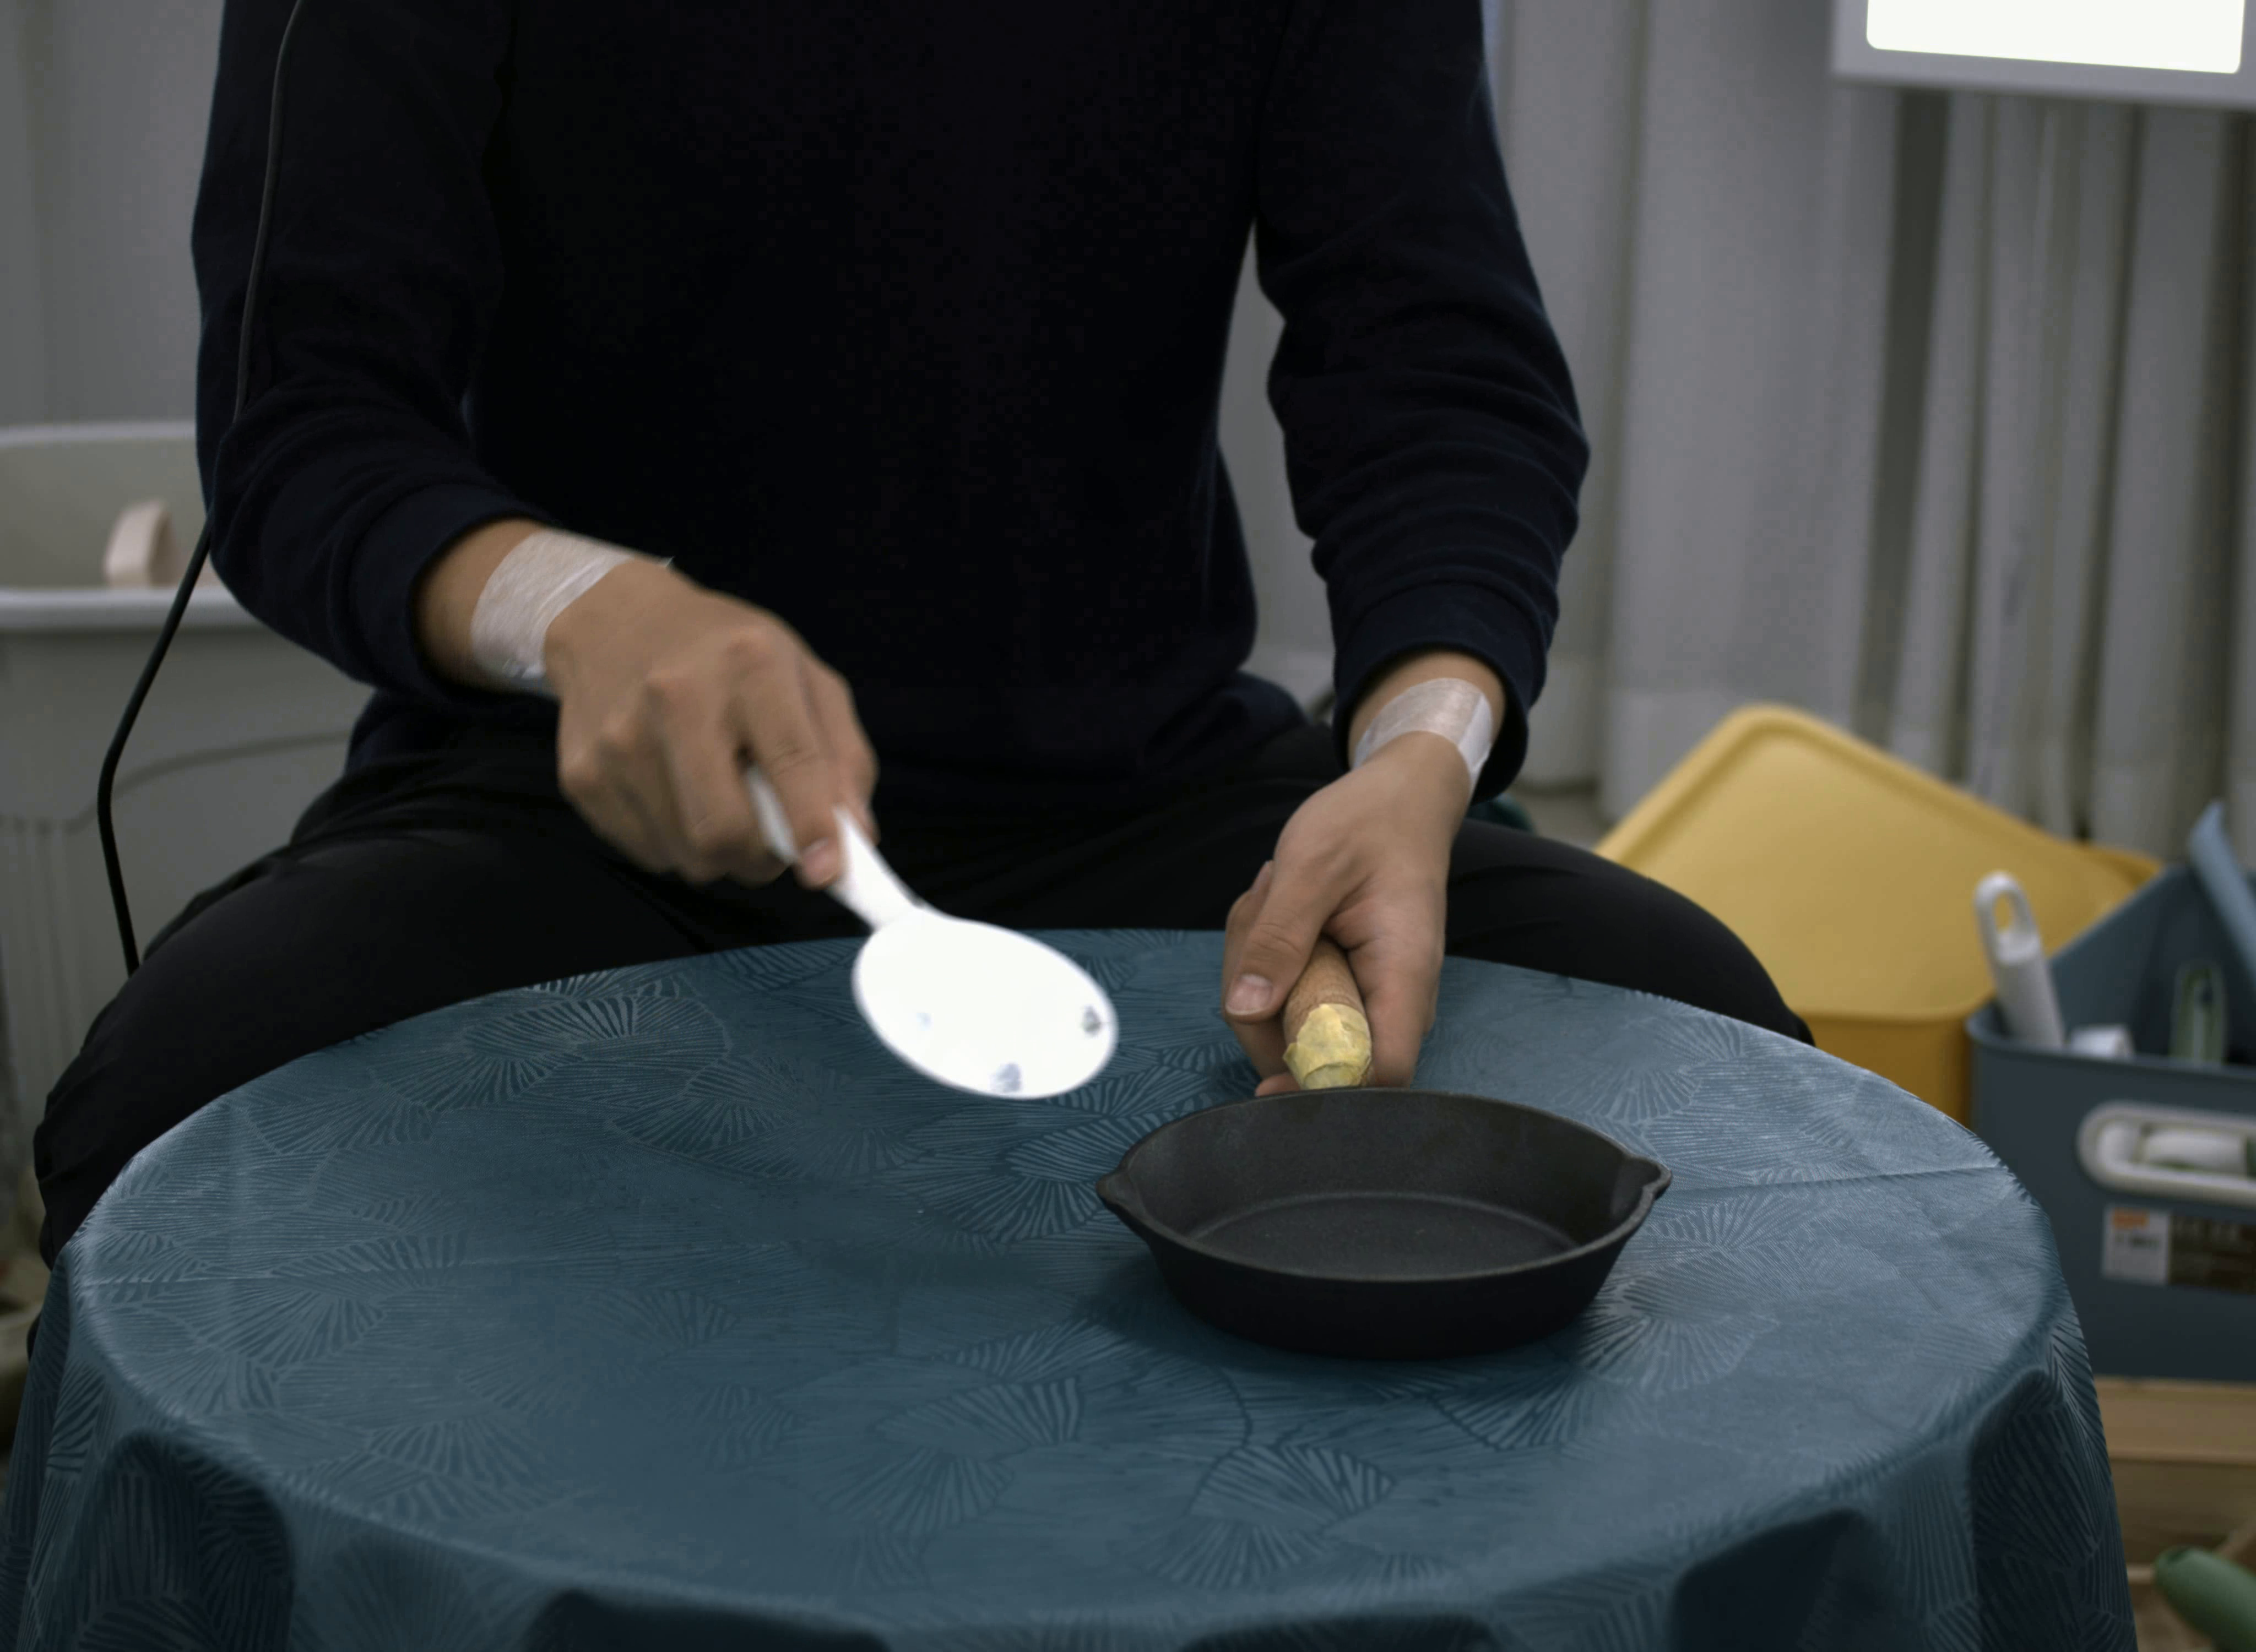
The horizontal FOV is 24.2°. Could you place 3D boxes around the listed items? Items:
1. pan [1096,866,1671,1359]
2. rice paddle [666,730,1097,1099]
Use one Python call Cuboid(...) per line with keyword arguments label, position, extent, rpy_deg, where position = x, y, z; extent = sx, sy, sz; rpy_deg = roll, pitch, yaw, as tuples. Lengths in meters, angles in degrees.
Cuboid(label="pan", position=(0.070, 0.084, 1.618), extent=(0.168, 0.050, 0.322), rpy_deg=(0, 19, -3))
Cuboid(label="rice paddle", position=(-0.078, 0.028, 1.588), extent=(0.069, 0.030, 0.202), rpy_deg=(-20, 38, -26))
